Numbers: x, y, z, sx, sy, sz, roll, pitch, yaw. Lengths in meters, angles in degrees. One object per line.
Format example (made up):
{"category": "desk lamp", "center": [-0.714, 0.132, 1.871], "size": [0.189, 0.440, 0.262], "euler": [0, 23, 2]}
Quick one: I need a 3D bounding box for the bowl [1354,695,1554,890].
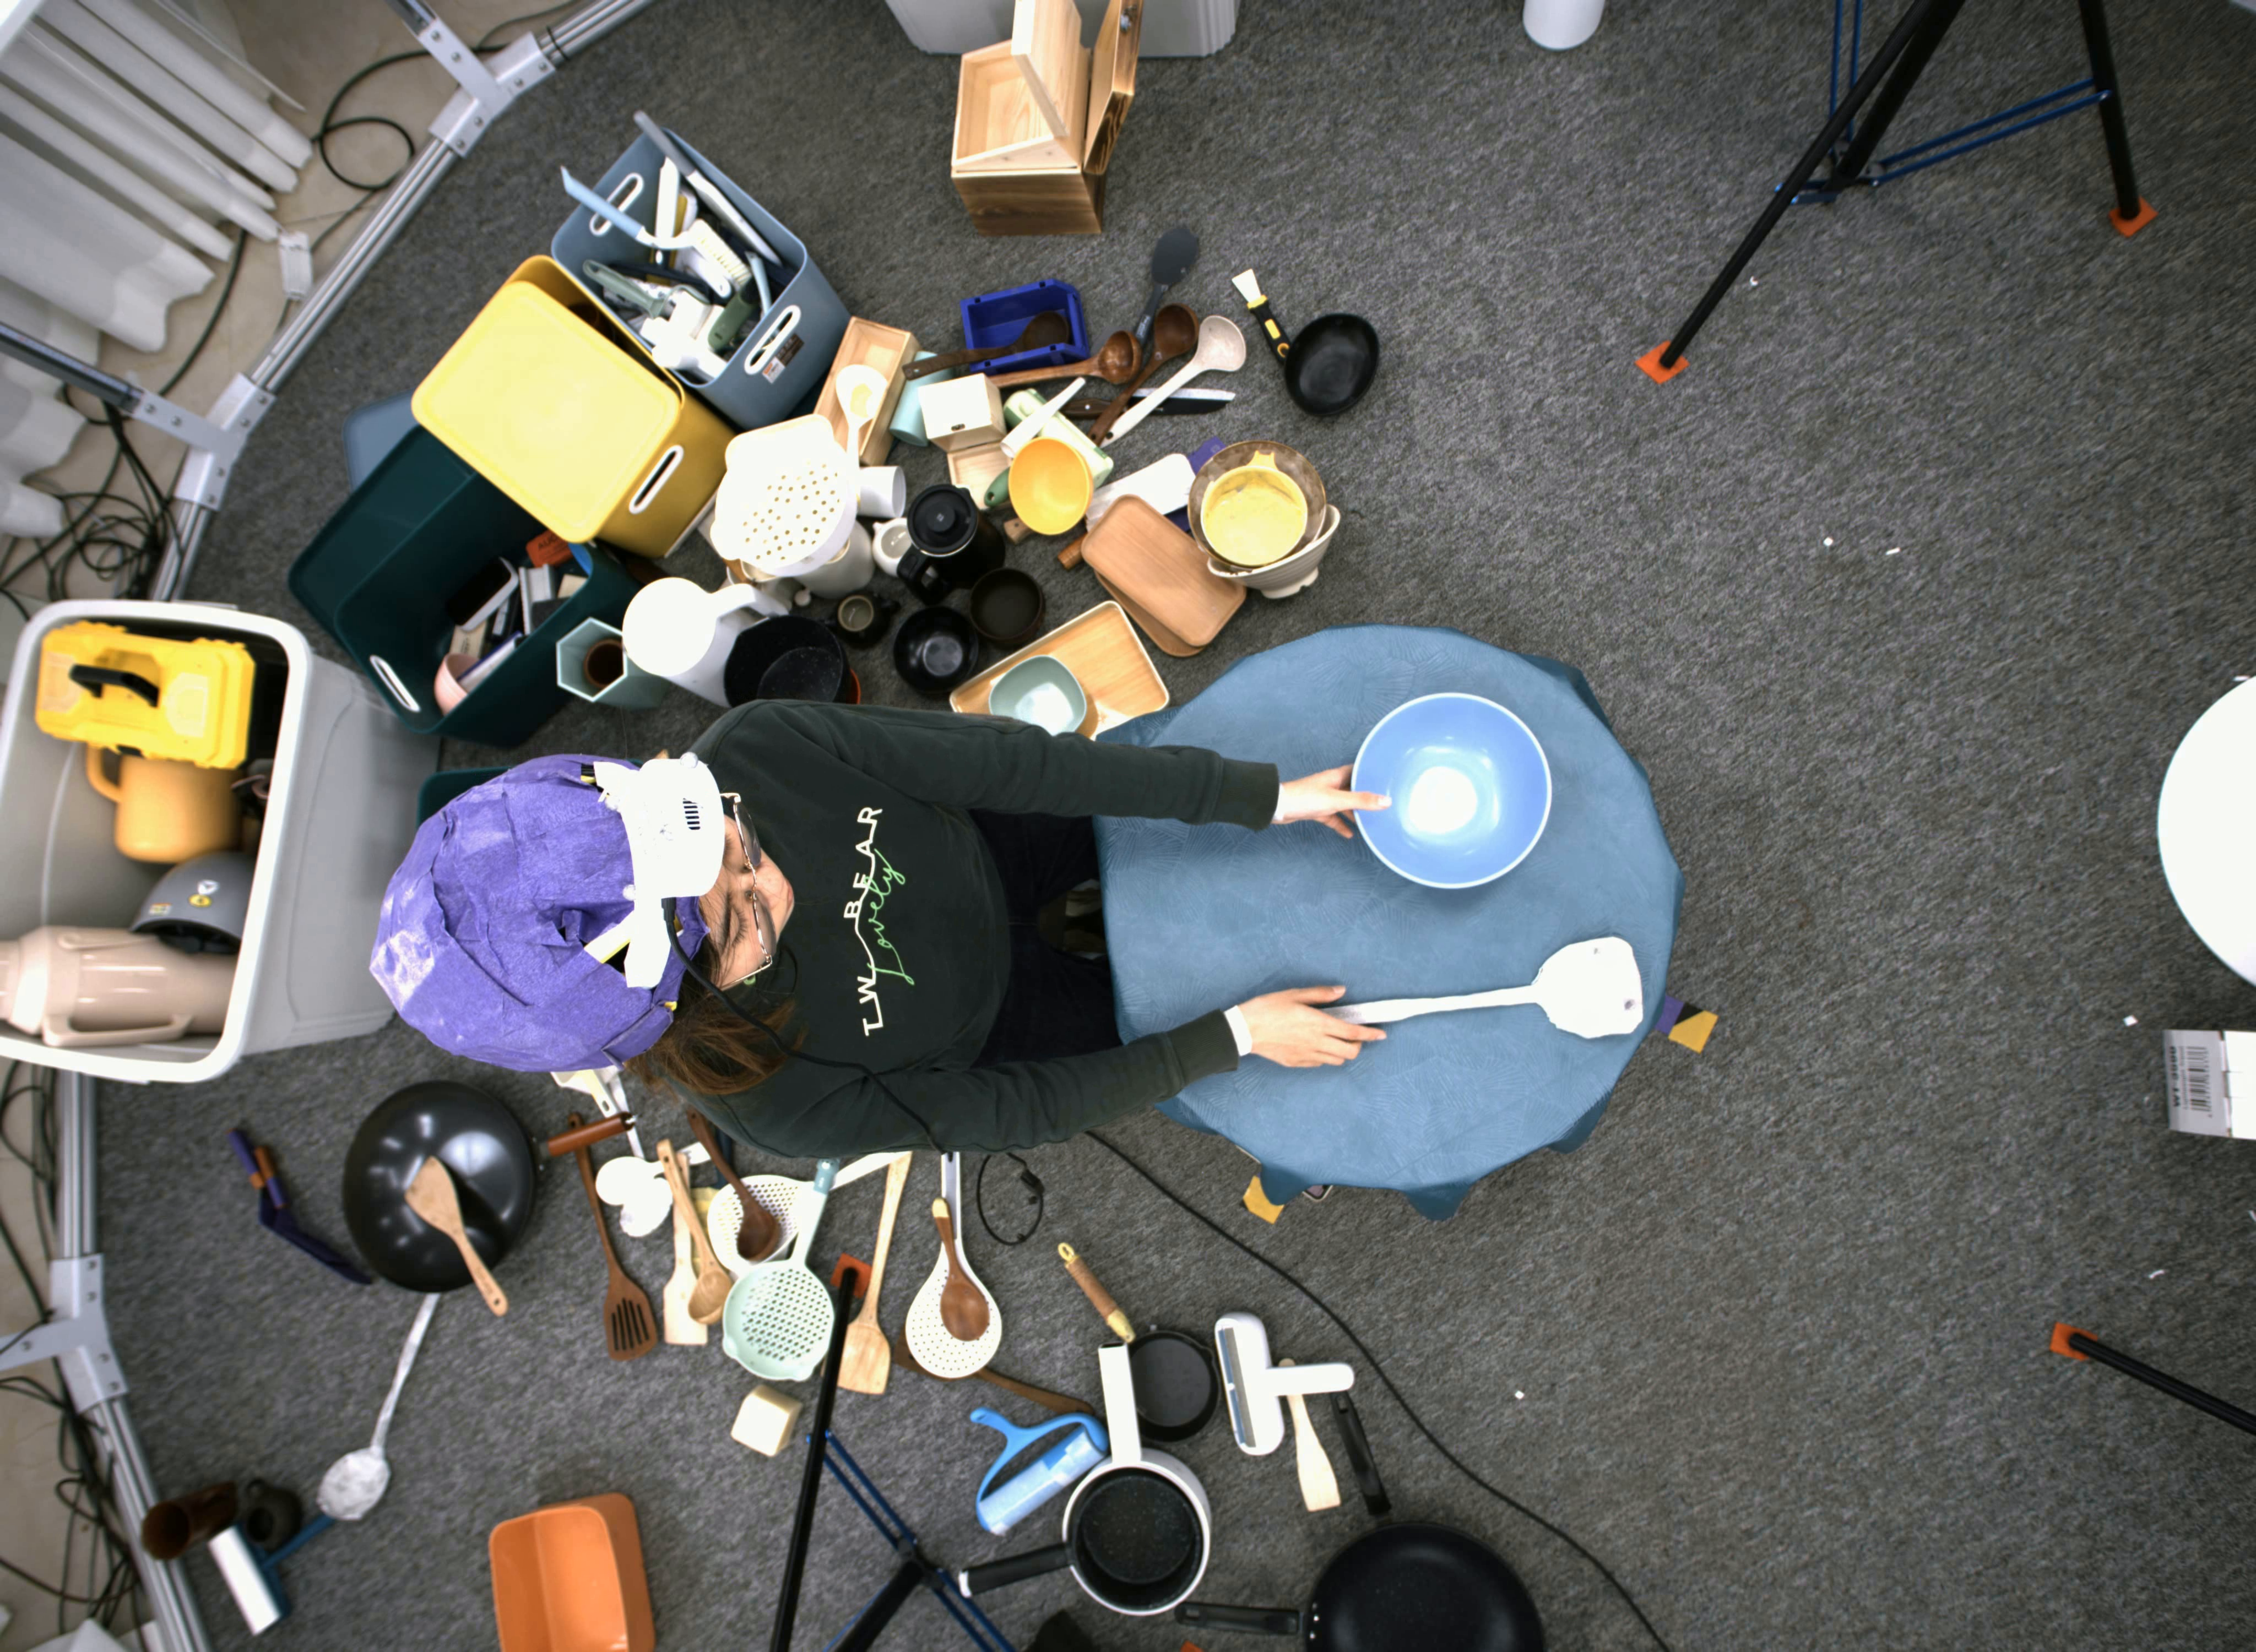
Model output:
{"category": "bowl", "center": [0.330, -0.031, 1.412], "size": [0.197, 0.095, 0.195], "euler": [-1, 86, 8]}

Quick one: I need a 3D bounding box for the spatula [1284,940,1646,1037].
{"category": "spatula", "center": [0.342, 0.179, 1.424], "size": [0.366, 0.045, 0.098], "euler": [-7, 86, 10]}
